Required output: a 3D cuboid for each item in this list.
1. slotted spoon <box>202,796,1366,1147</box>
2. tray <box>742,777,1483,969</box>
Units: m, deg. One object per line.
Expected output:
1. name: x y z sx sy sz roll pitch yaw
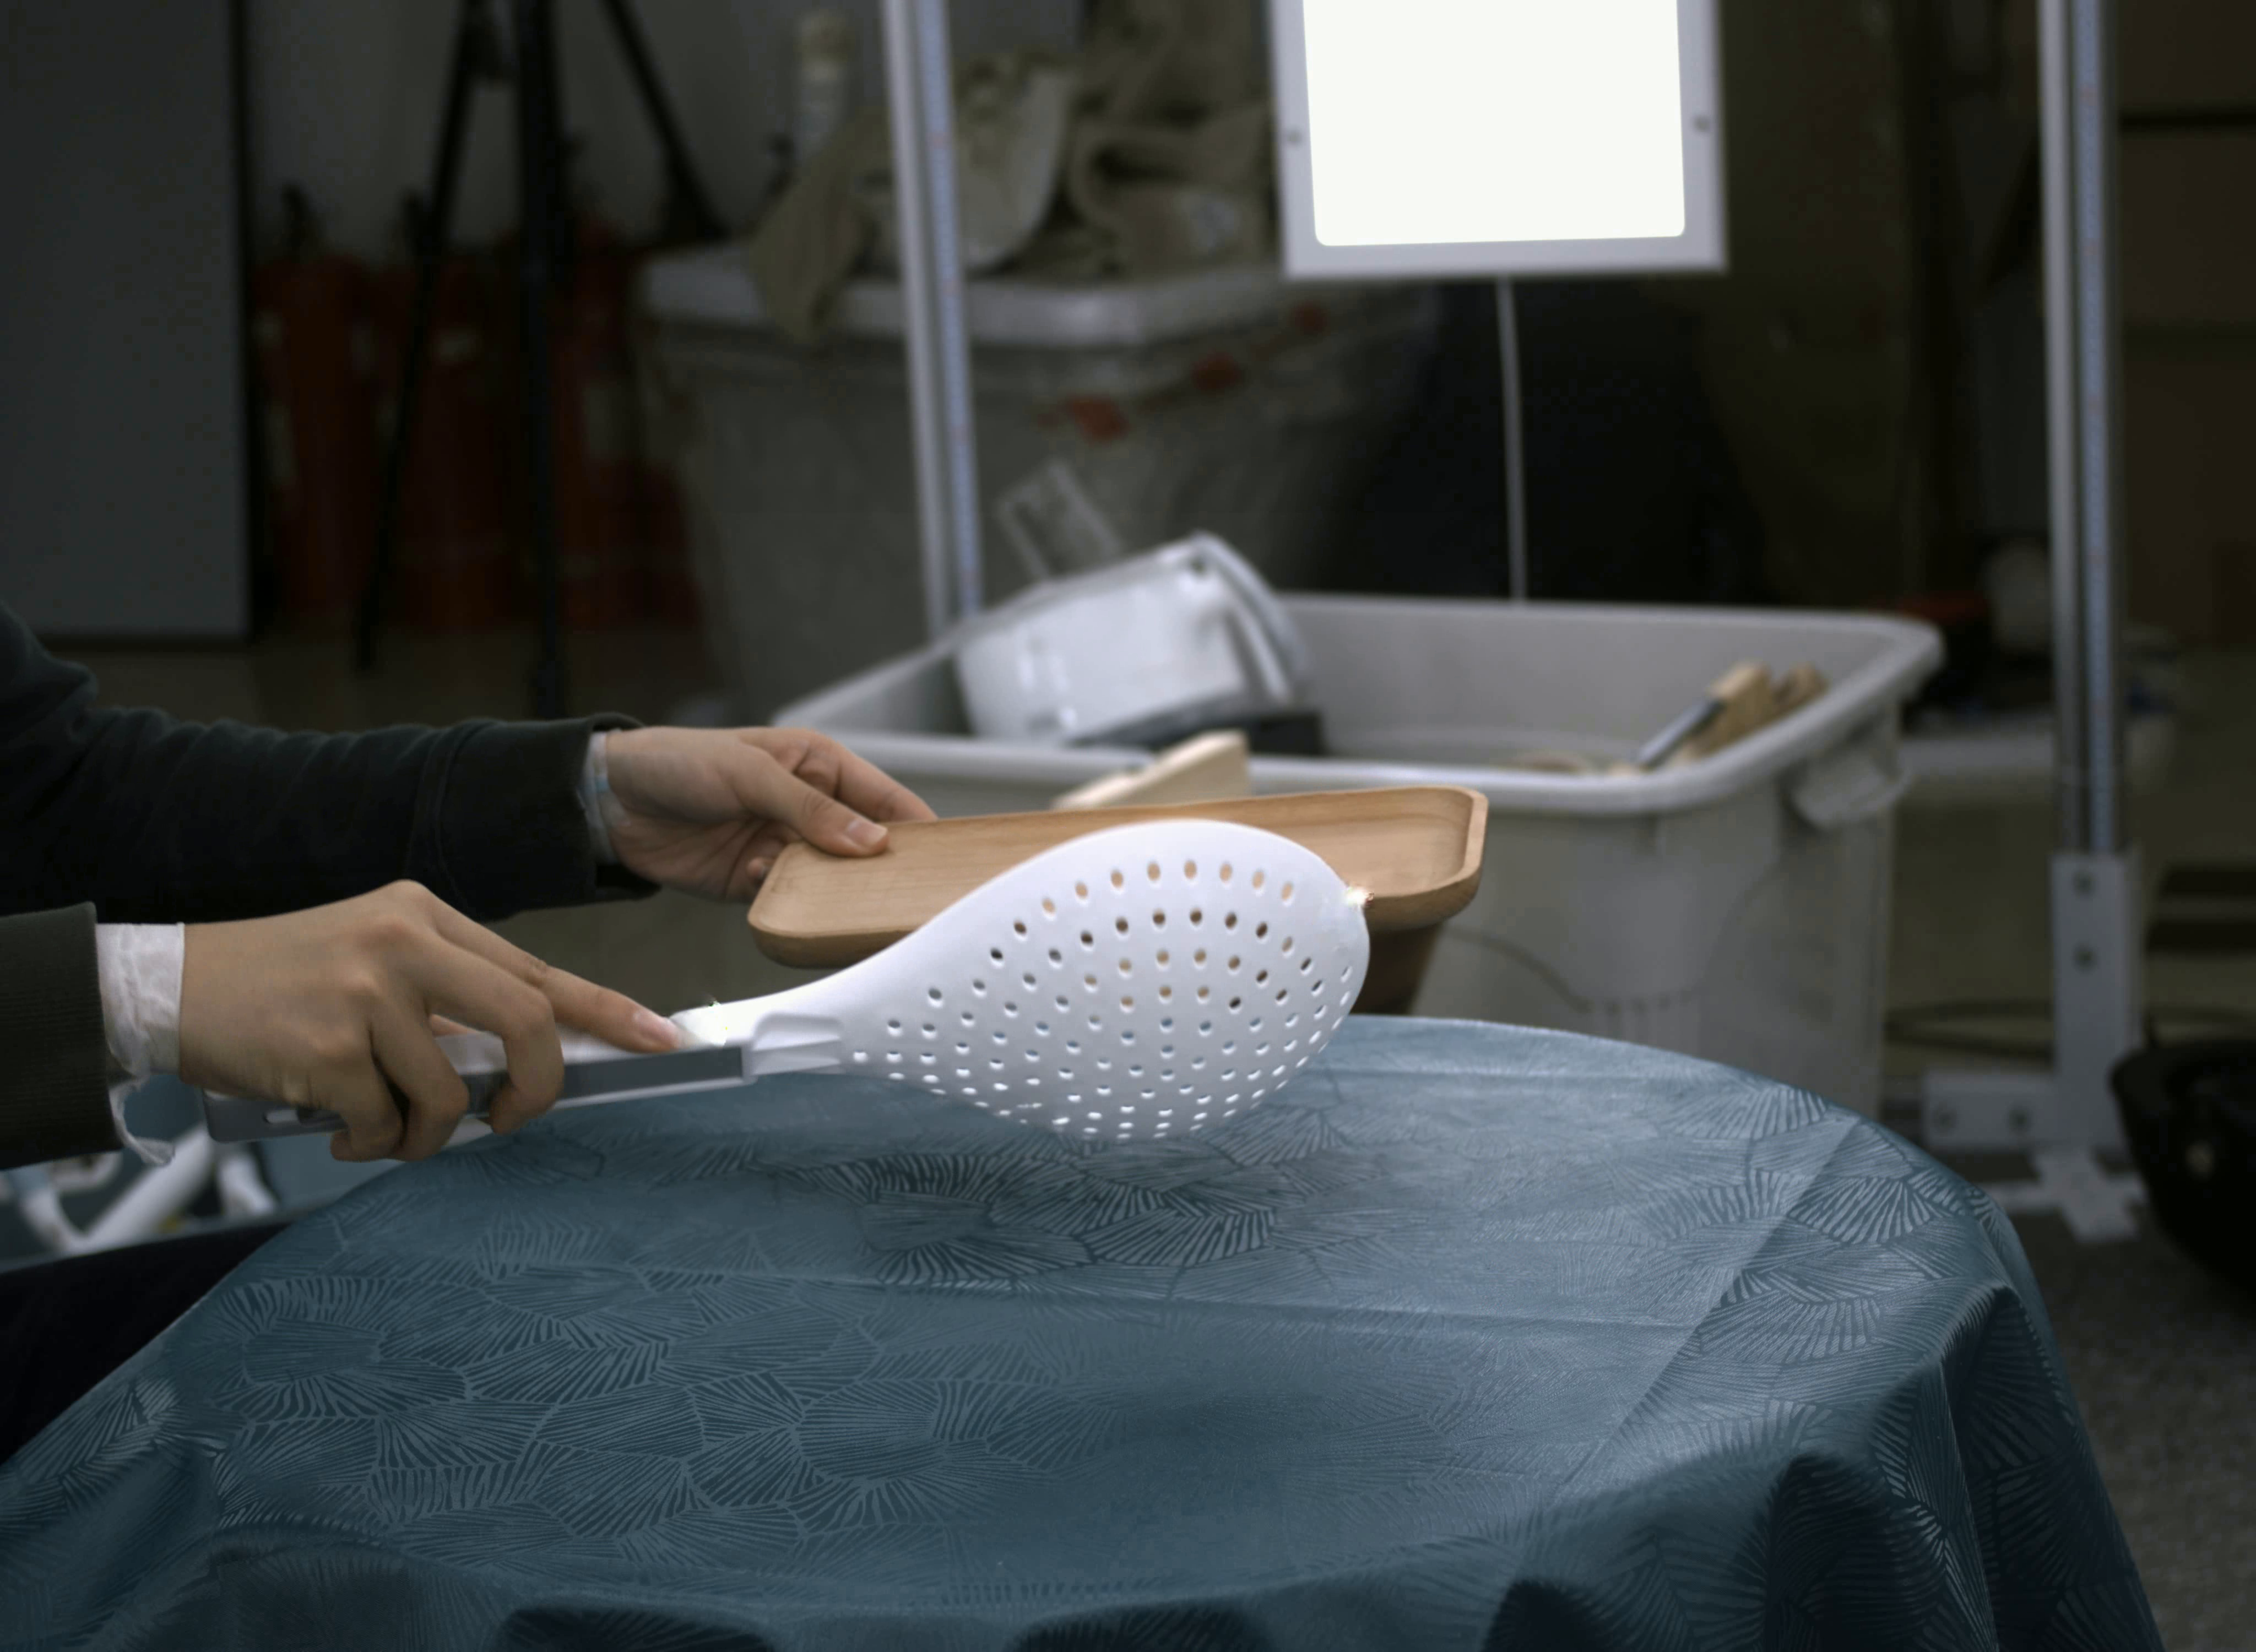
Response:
1. slotted spoon: -0.100 0.060 1.641 0.348 0.137 0.045 -3 40 -1
2. tray: -0.003 0.016 1.885 0.252 0.023 0.129 -5 15 10
